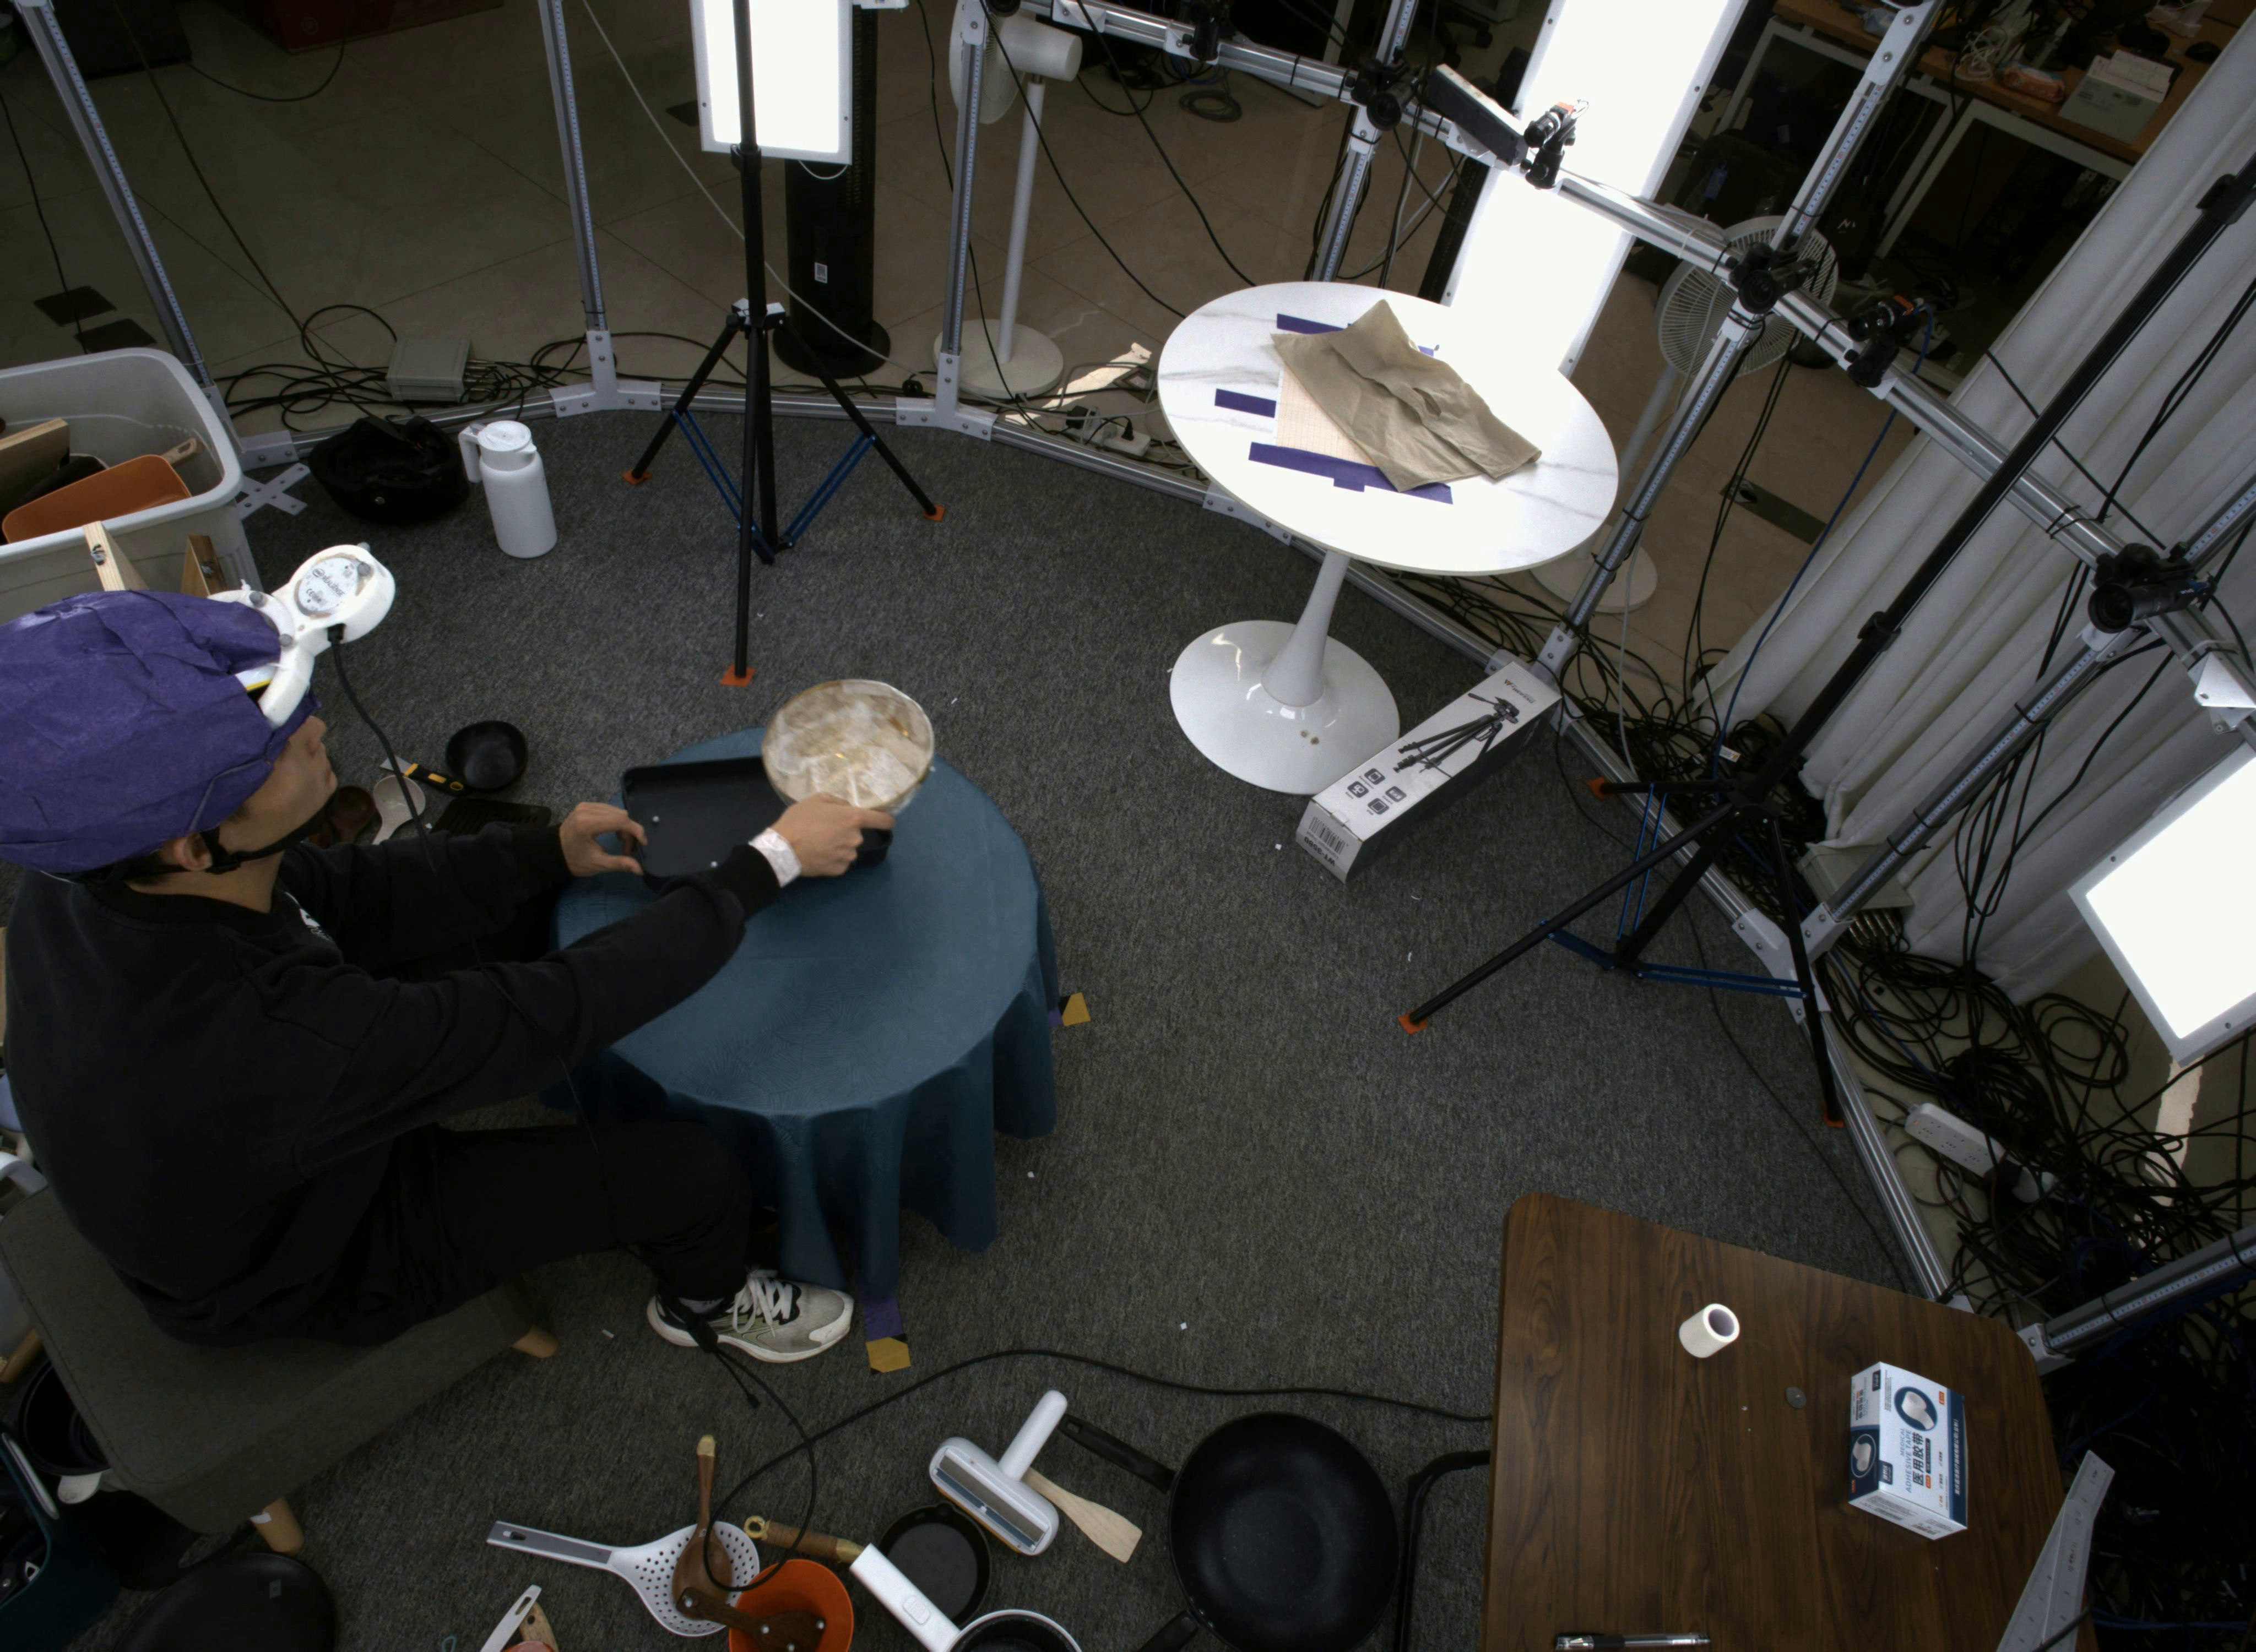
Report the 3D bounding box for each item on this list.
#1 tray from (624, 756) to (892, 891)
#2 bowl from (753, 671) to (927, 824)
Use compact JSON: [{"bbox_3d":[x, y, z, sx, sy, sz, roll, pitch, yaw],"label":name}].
[{"bbox_3d":[-0.478,-0.013,1.668,0.321,0.037,0.179,-6,53,-30],"label":"tray"},{"bbox_3d":[-0.347,-0.079,1.575,0.213,0.096,0.211,5,57,-6],"label":"bowl"}]
